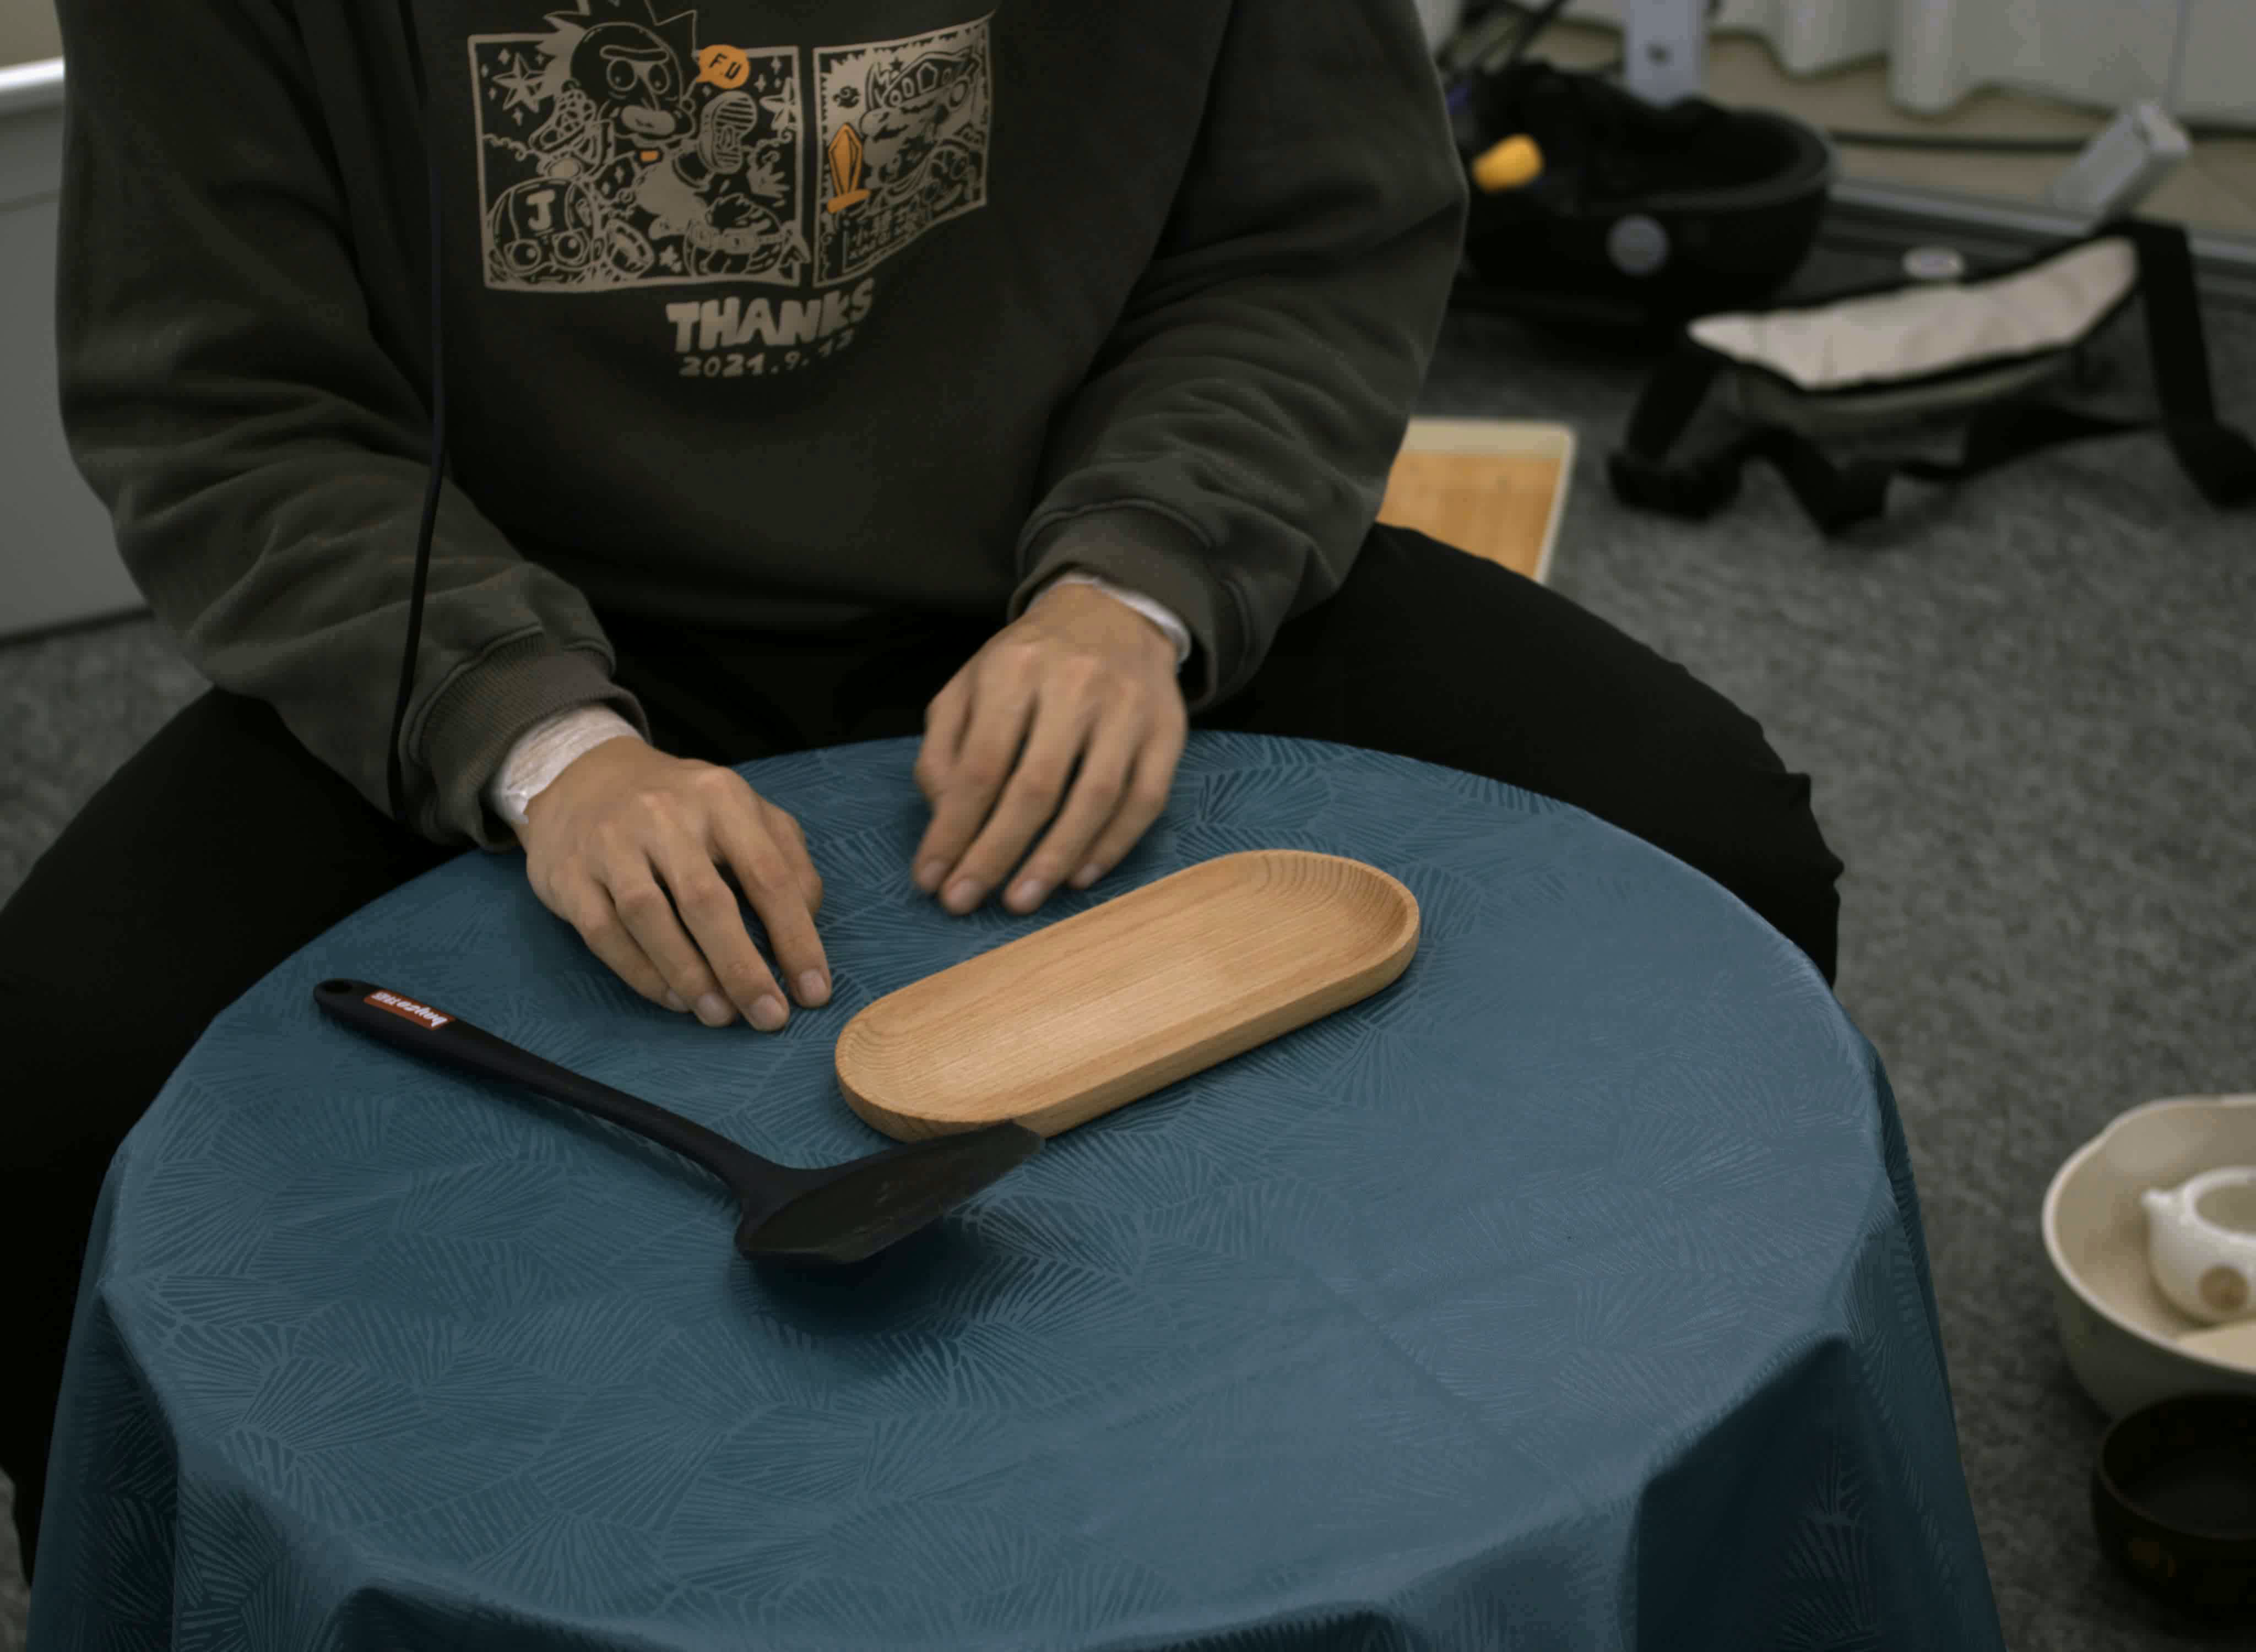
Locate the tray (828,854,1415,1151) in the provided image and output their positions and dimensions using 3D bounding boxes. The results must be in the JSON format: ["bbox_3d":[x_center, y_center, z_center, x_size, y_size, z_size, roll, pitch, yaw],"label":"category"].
[{"bbox_3d":[0.000,0.062,1.958,0.233,0.020,0.102,-23,33,-31],"label":"tray"}]

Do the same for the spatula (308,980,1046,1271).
[{"bbox_3d":[-0.171,0.092,1.895,0.325,0.040,0.101,21,35,38],"label":"spatula"}]
